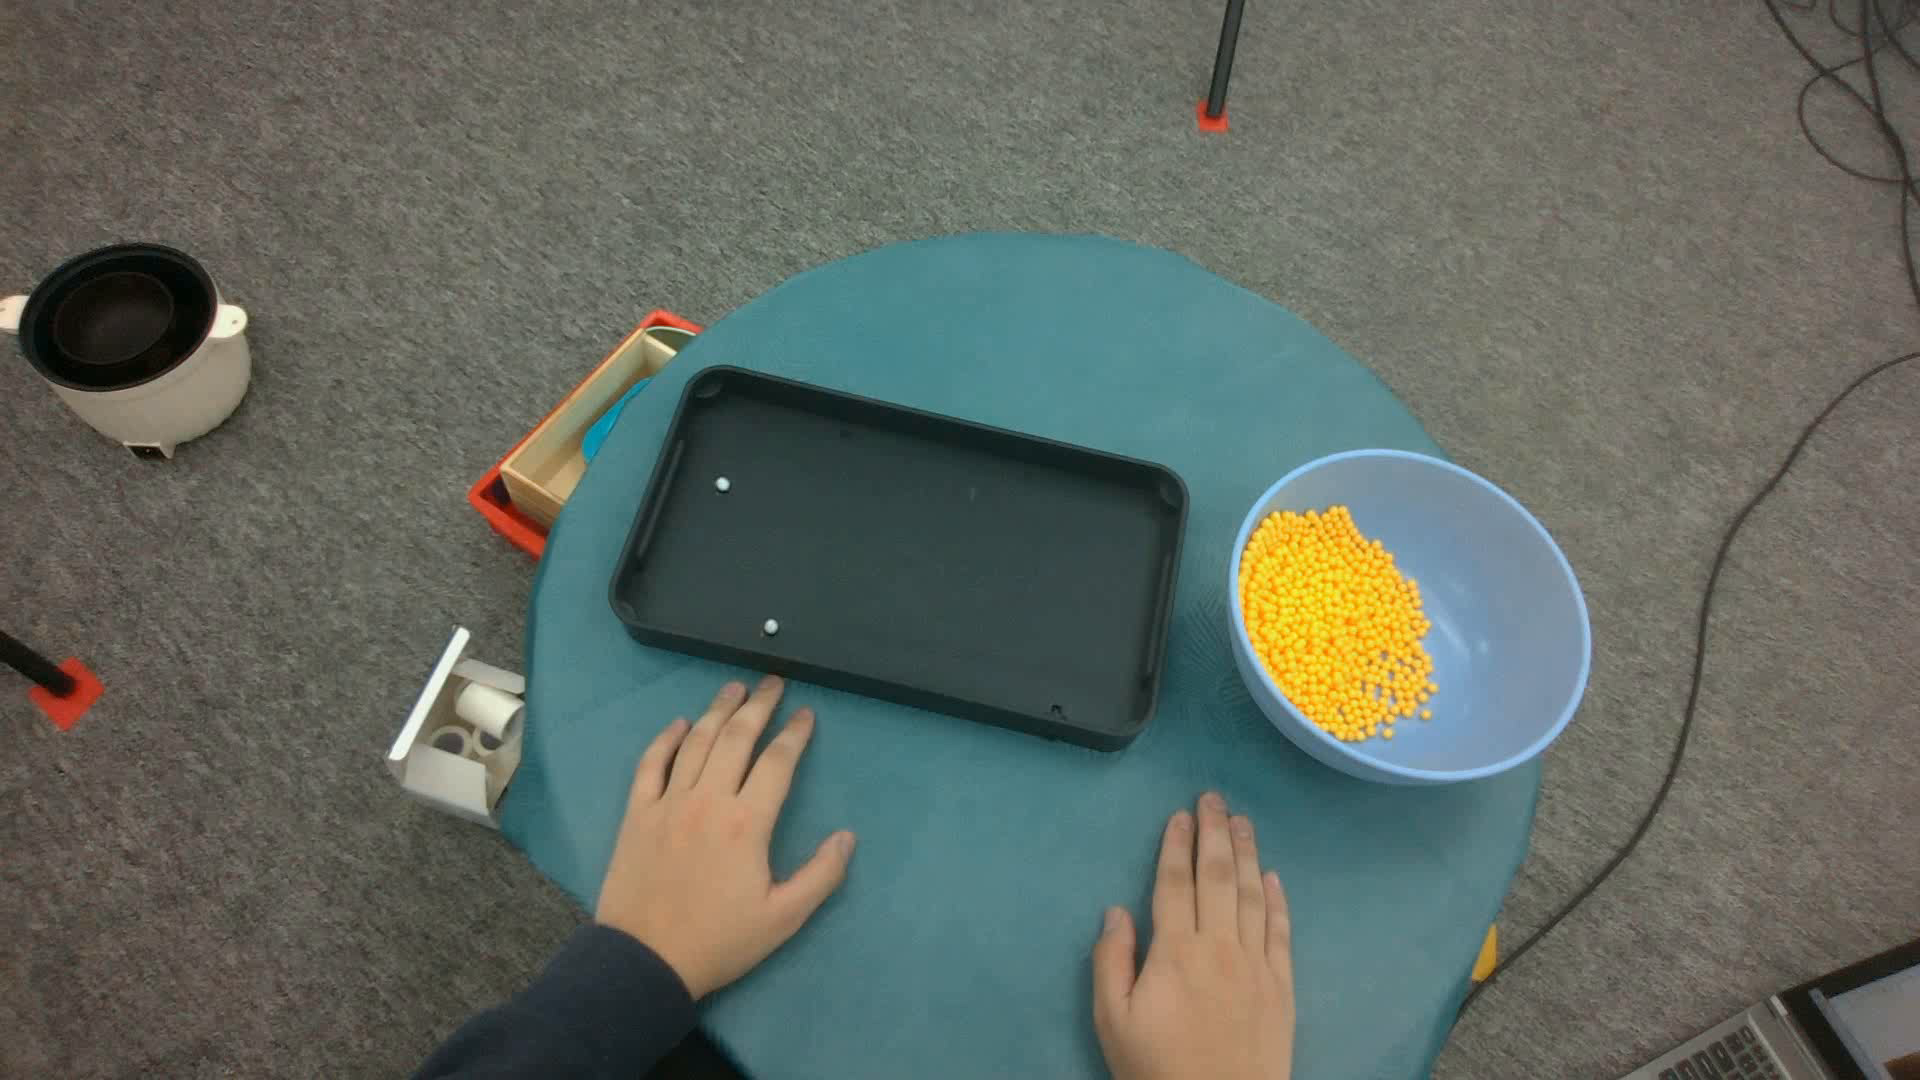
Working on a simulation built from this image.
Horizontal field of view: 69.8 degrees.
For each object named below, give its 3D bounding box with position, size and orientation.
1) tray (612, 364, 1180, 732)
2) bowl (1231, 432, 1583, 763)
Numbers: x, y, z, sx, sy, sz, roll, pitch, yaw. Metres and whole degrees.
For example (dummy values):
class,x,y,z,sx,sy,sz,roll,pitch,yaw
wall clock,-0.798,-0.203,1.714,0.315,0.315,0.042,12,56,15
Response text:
class,x,y,z,sx,sy,sz,roll,pitch,yaw
tray,-0.033,0.003,0.834,0.318,0.037,0.185,11,63,0
bowl,0.244,0.045,0.799,0.196,0.095,0.197,2,63,-4
